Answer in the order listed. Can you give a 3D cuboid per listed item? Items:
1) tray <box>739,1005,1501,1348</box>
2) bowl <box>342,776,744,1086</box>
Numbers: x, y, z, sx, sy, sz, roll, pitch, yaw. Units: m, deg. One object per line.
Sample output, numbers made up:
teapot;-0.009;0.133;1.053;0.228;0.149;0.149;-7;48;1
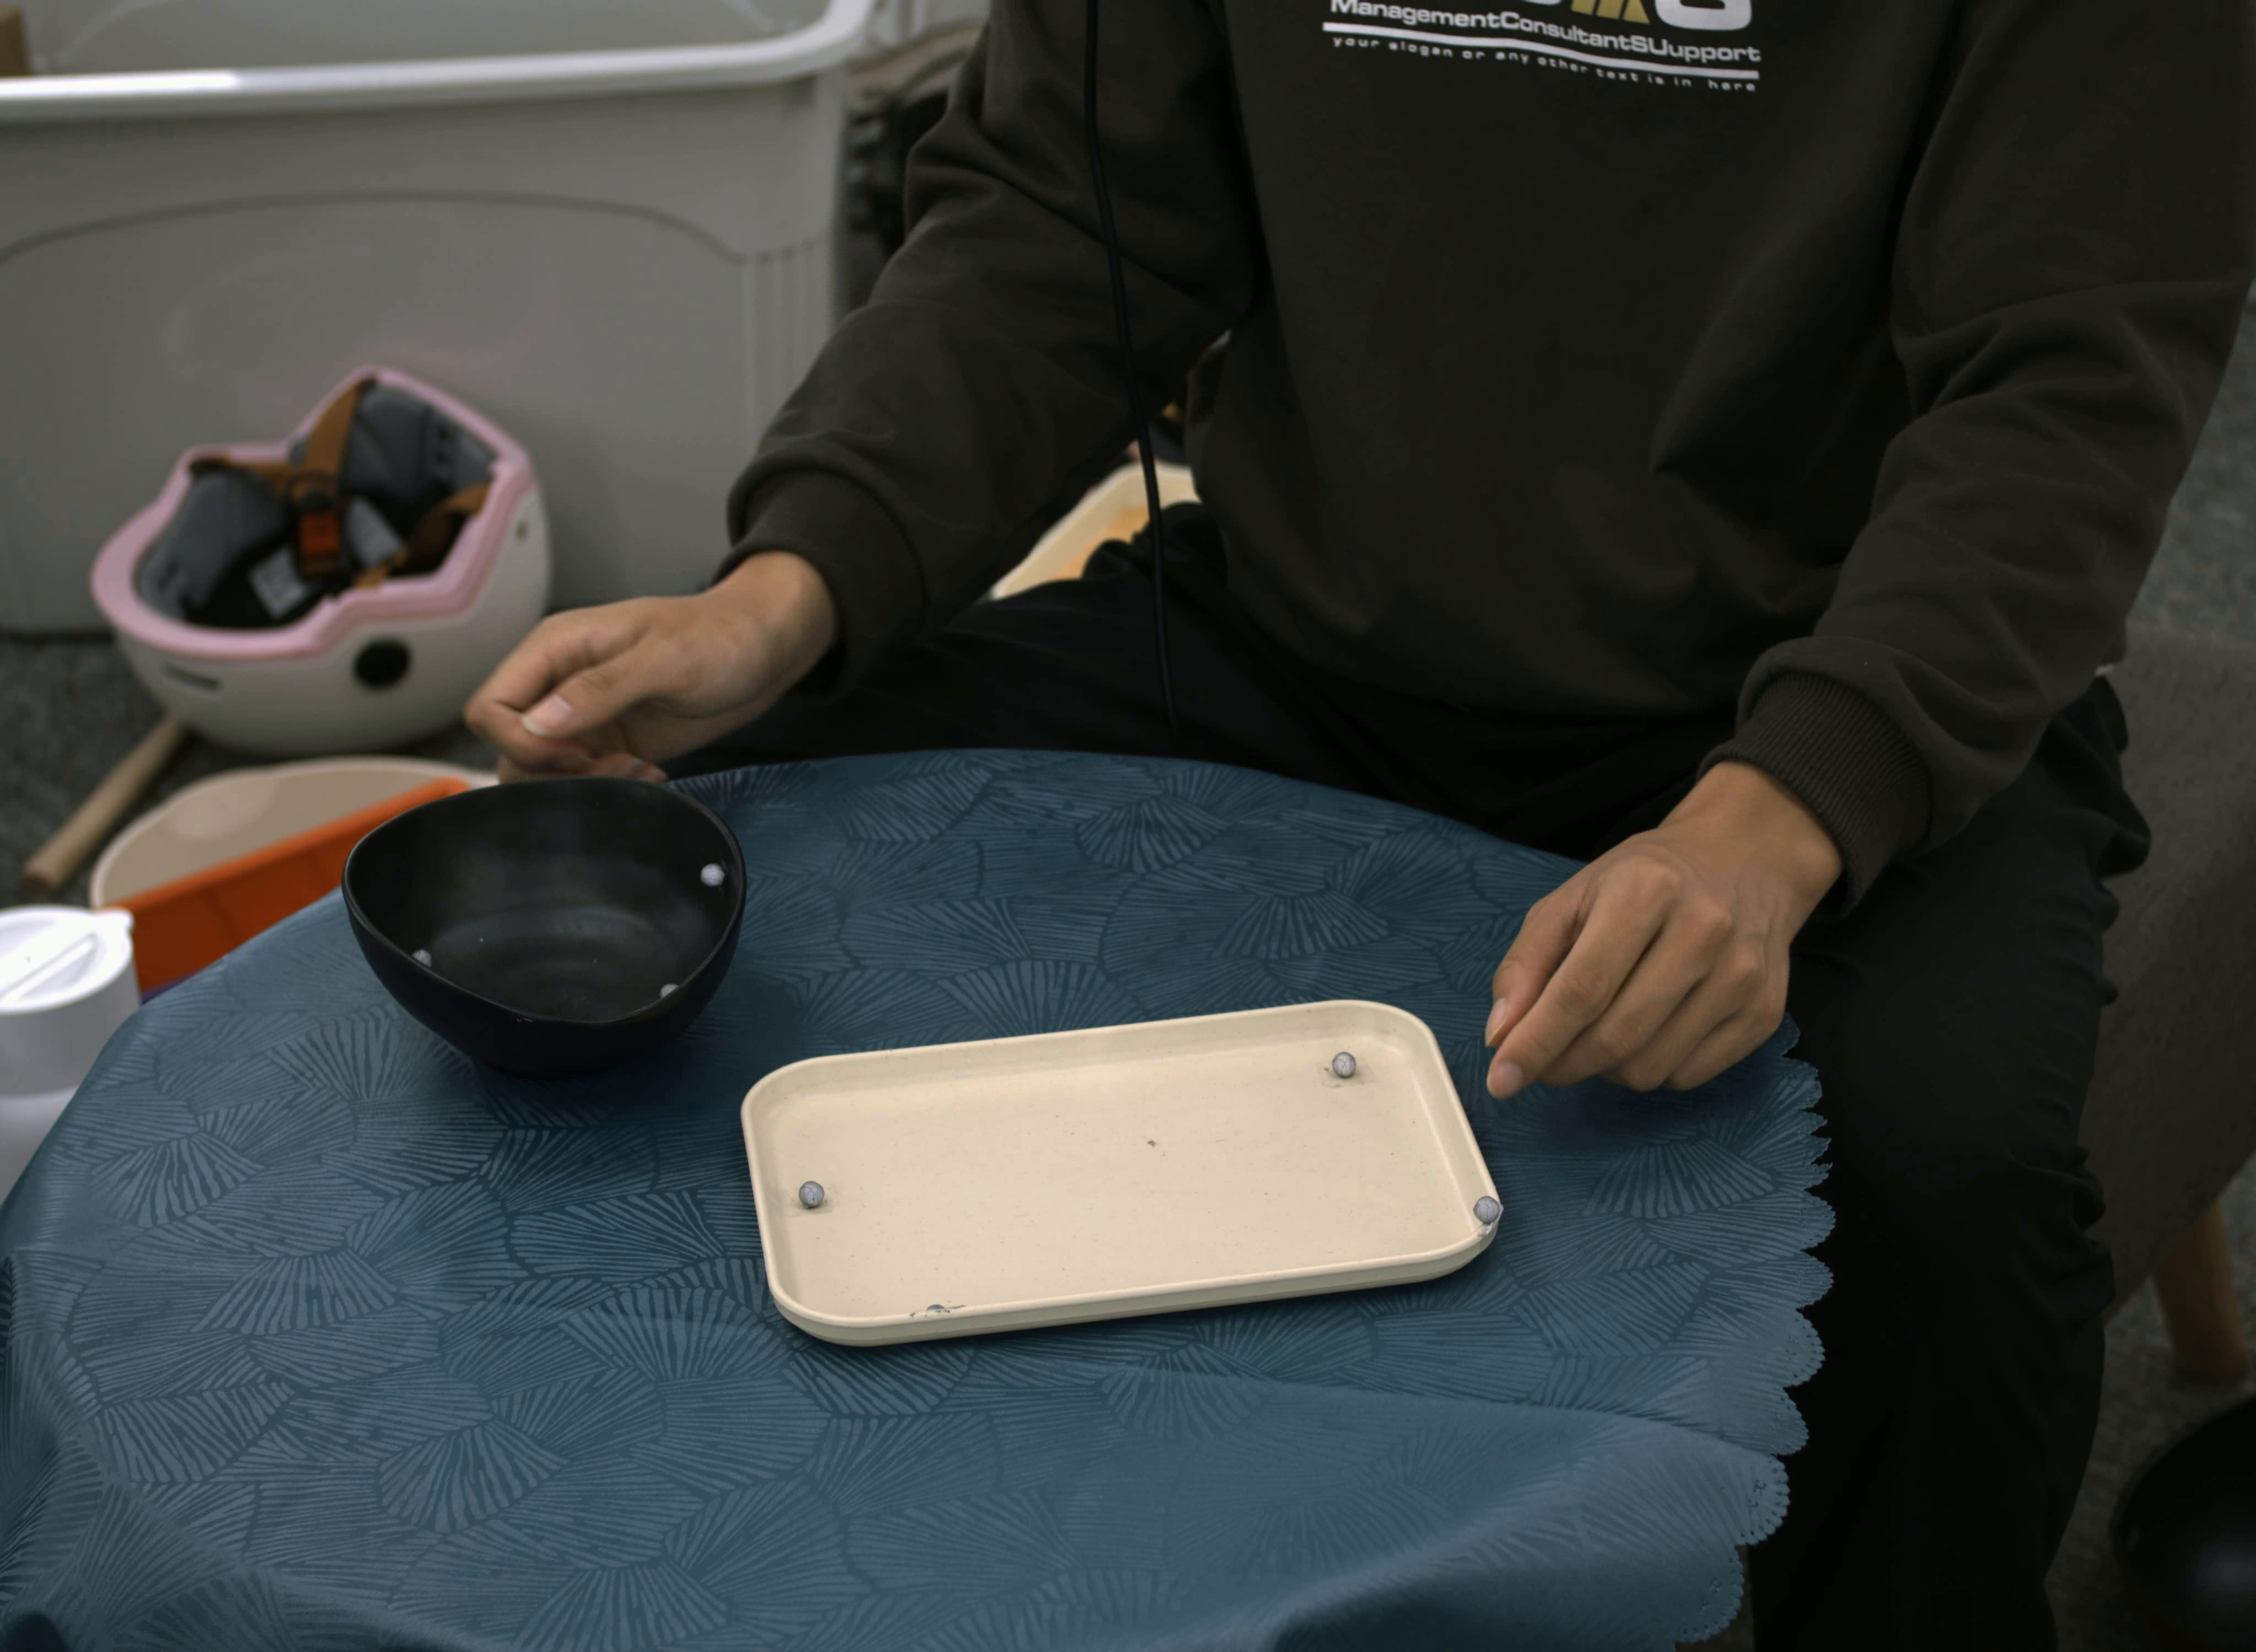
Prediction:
tray;-0.005;0.116;1.858;0.239;0.017;0.173;-6;27;-7
bowl;-0.200;0.045;1.963;0.138;0.066;0.171;-15;31;-20
